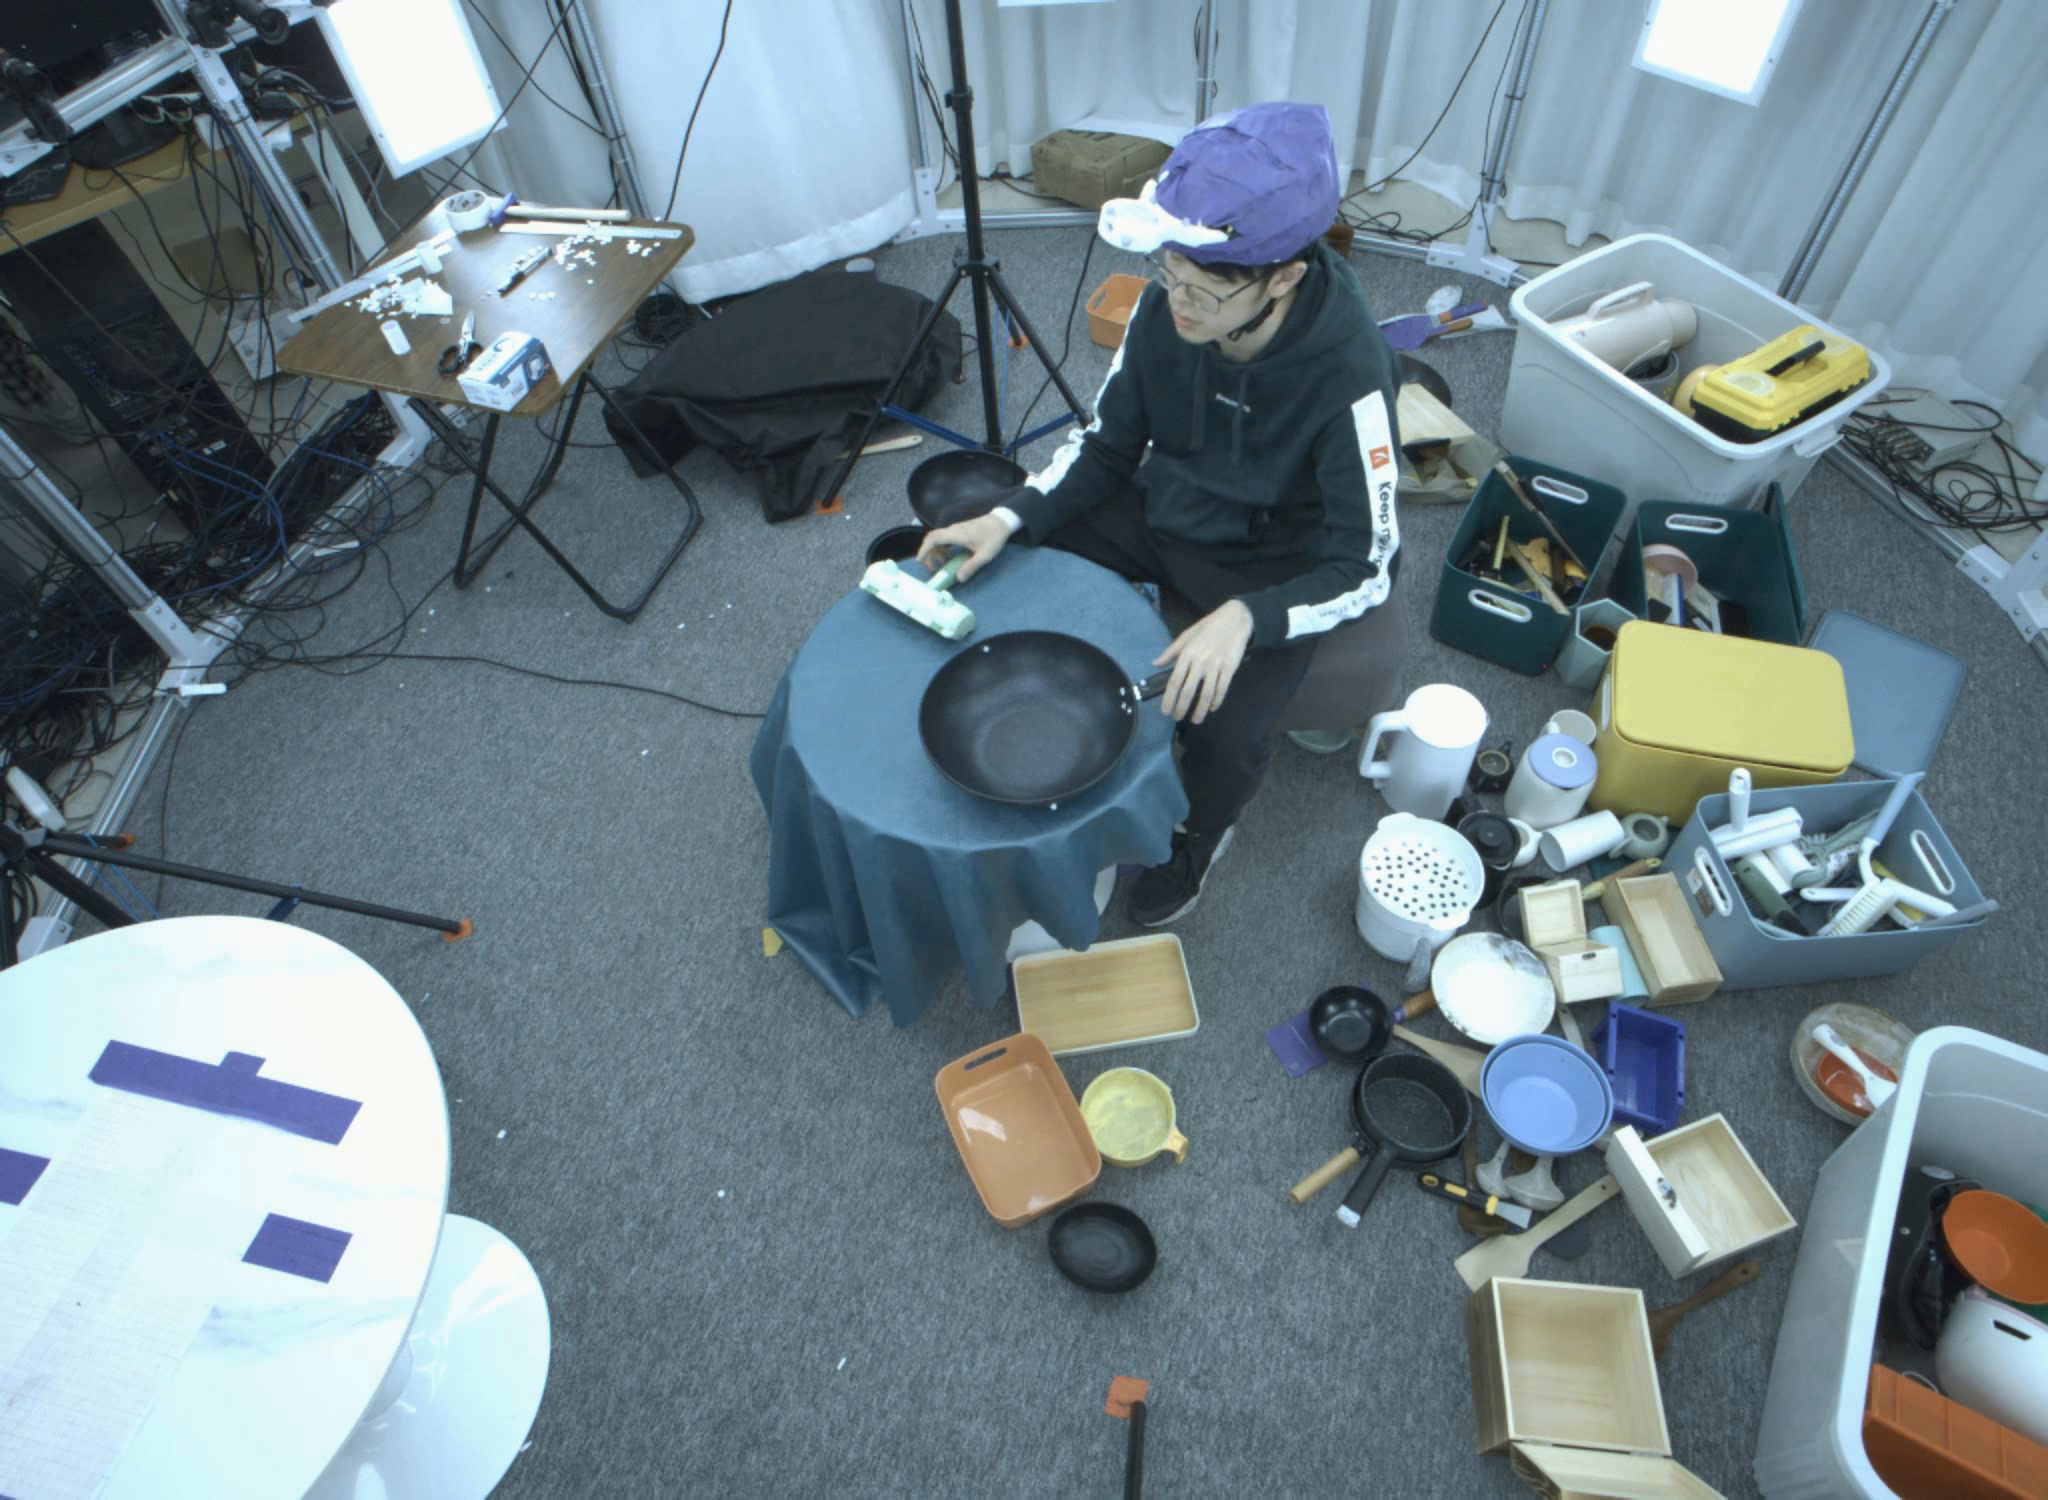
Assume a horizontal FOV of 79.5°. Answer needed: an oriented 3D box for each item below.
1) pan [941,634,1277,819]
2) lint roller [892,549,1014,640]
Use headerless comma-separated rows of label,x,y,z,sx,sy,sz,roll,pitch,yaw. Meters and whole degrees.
pan,0.122,-0.043,1.744,0.479,0.113,0.305,-11,56,-5
lint roller,-0.083,-0.277,1.936,0.195,0.083,0.184,33,67,23
